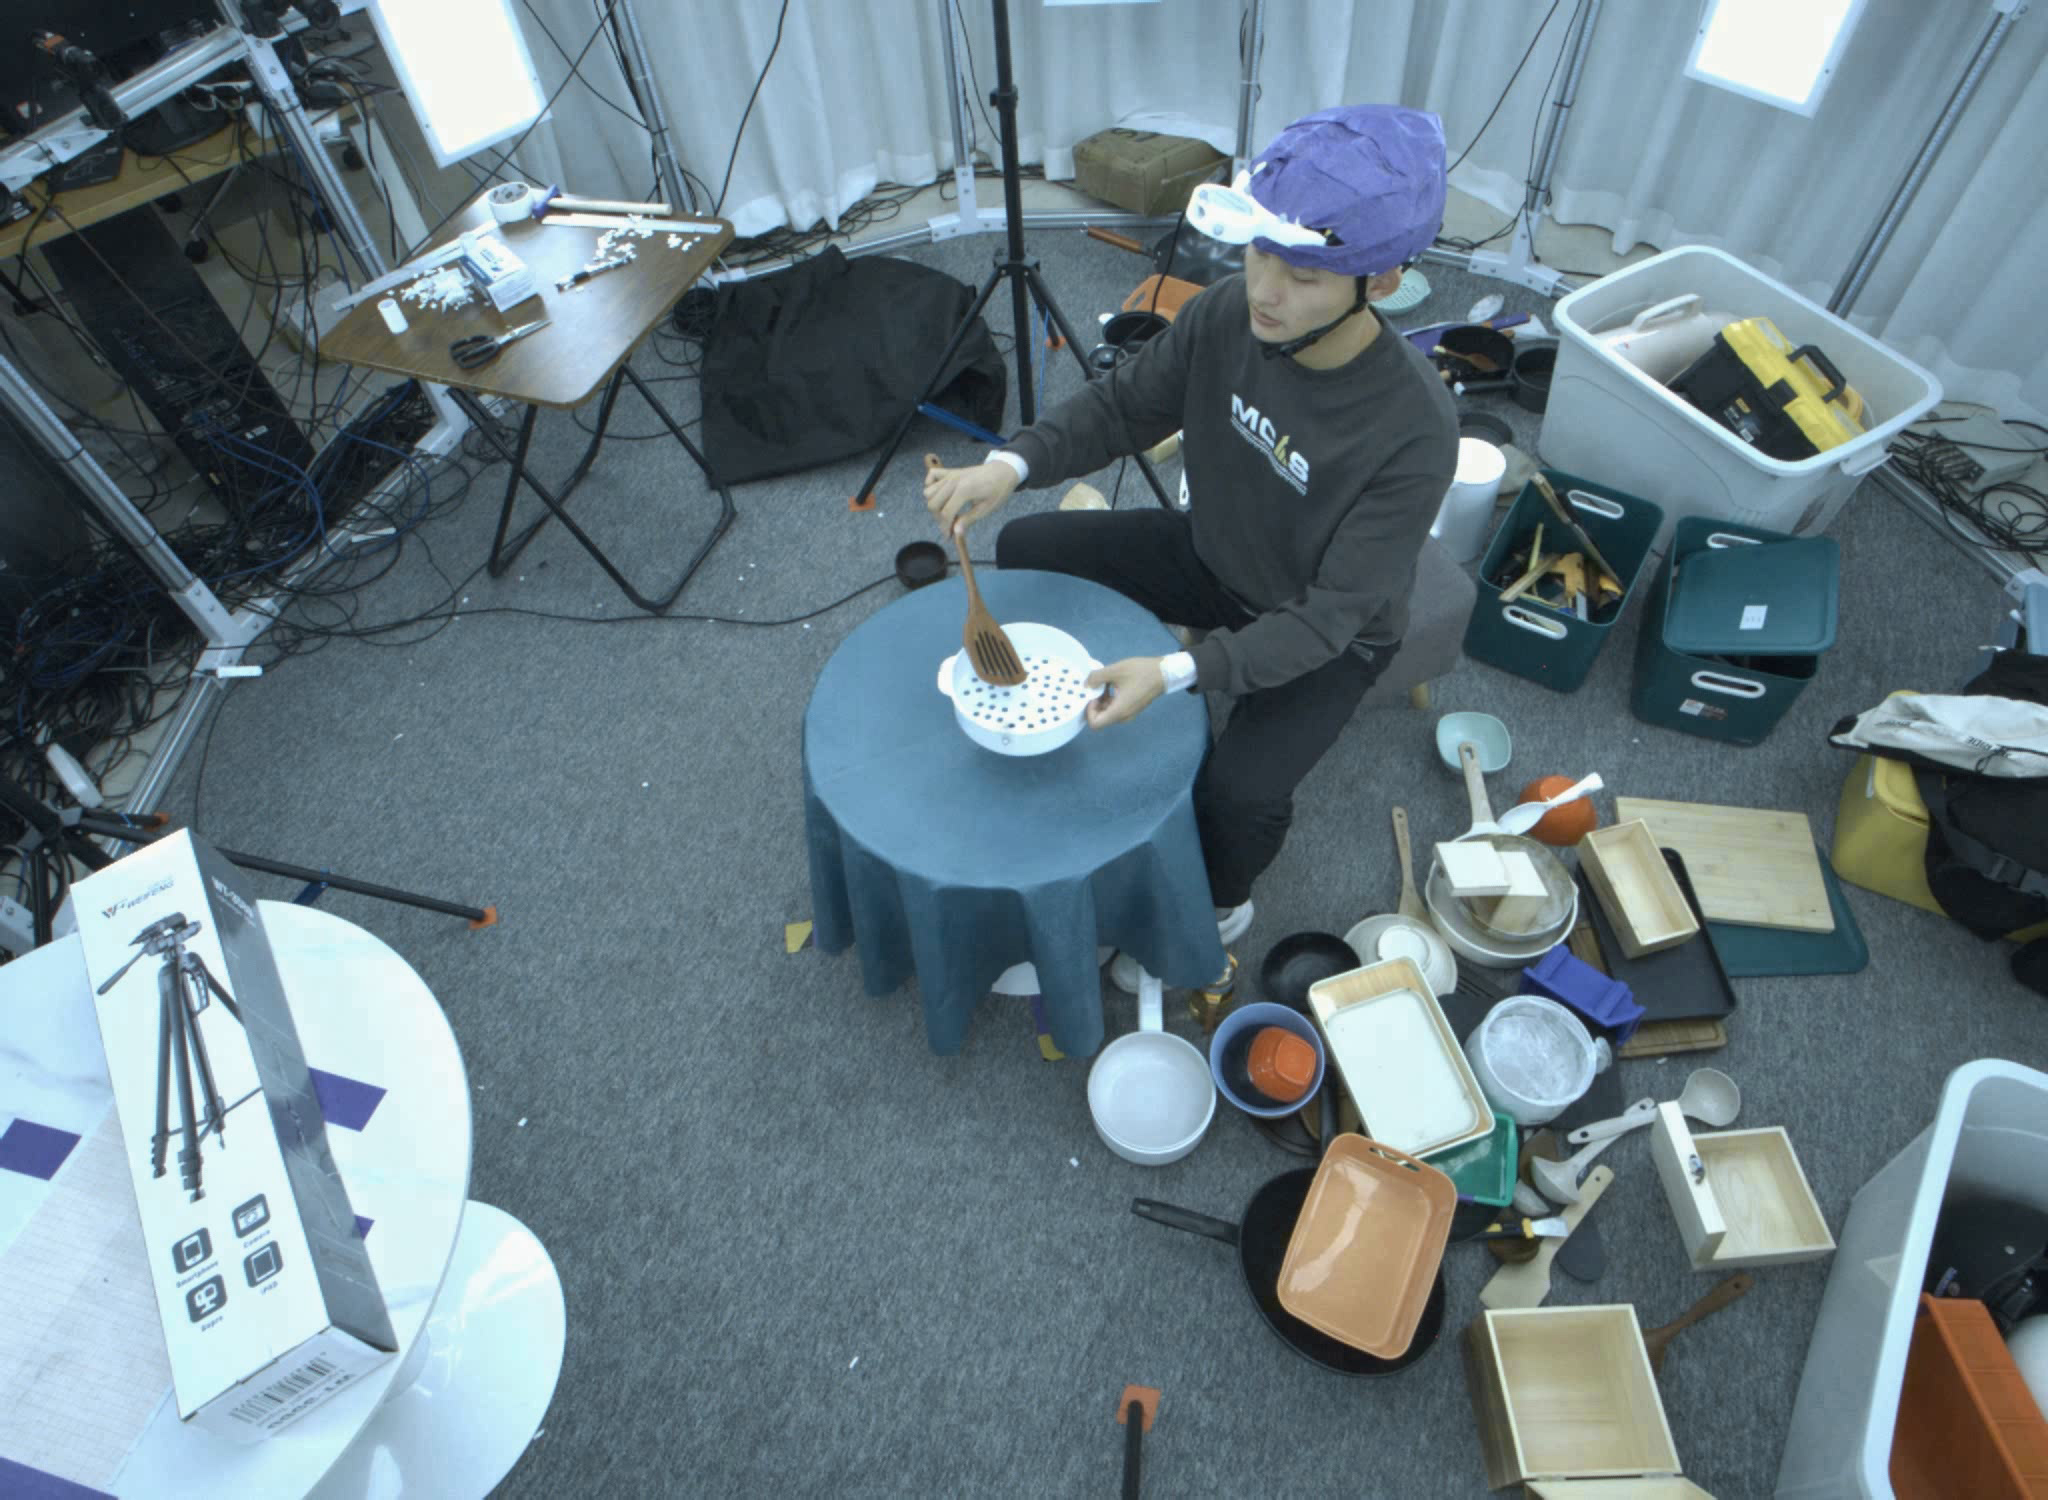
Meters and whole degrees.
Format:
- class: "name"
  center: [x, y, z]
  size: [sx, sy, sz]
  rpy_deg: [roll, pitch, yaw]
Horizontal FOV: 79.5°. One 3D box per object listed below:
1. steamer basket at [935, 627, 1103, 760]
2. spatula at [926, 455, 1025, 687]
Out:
- class: "steamer basket"
  center: [-0.008, -0.077, 1.714]
  size: [0.231, 0.070, 0.200]
  rpy_deg: [5, 52, -1]
- class: "spatula"
  center: [-0.086, -0.259, 1.731]
  size: [0.088, 0.023, 0.382]
  rpy_deg: [-2, 69, -43]
